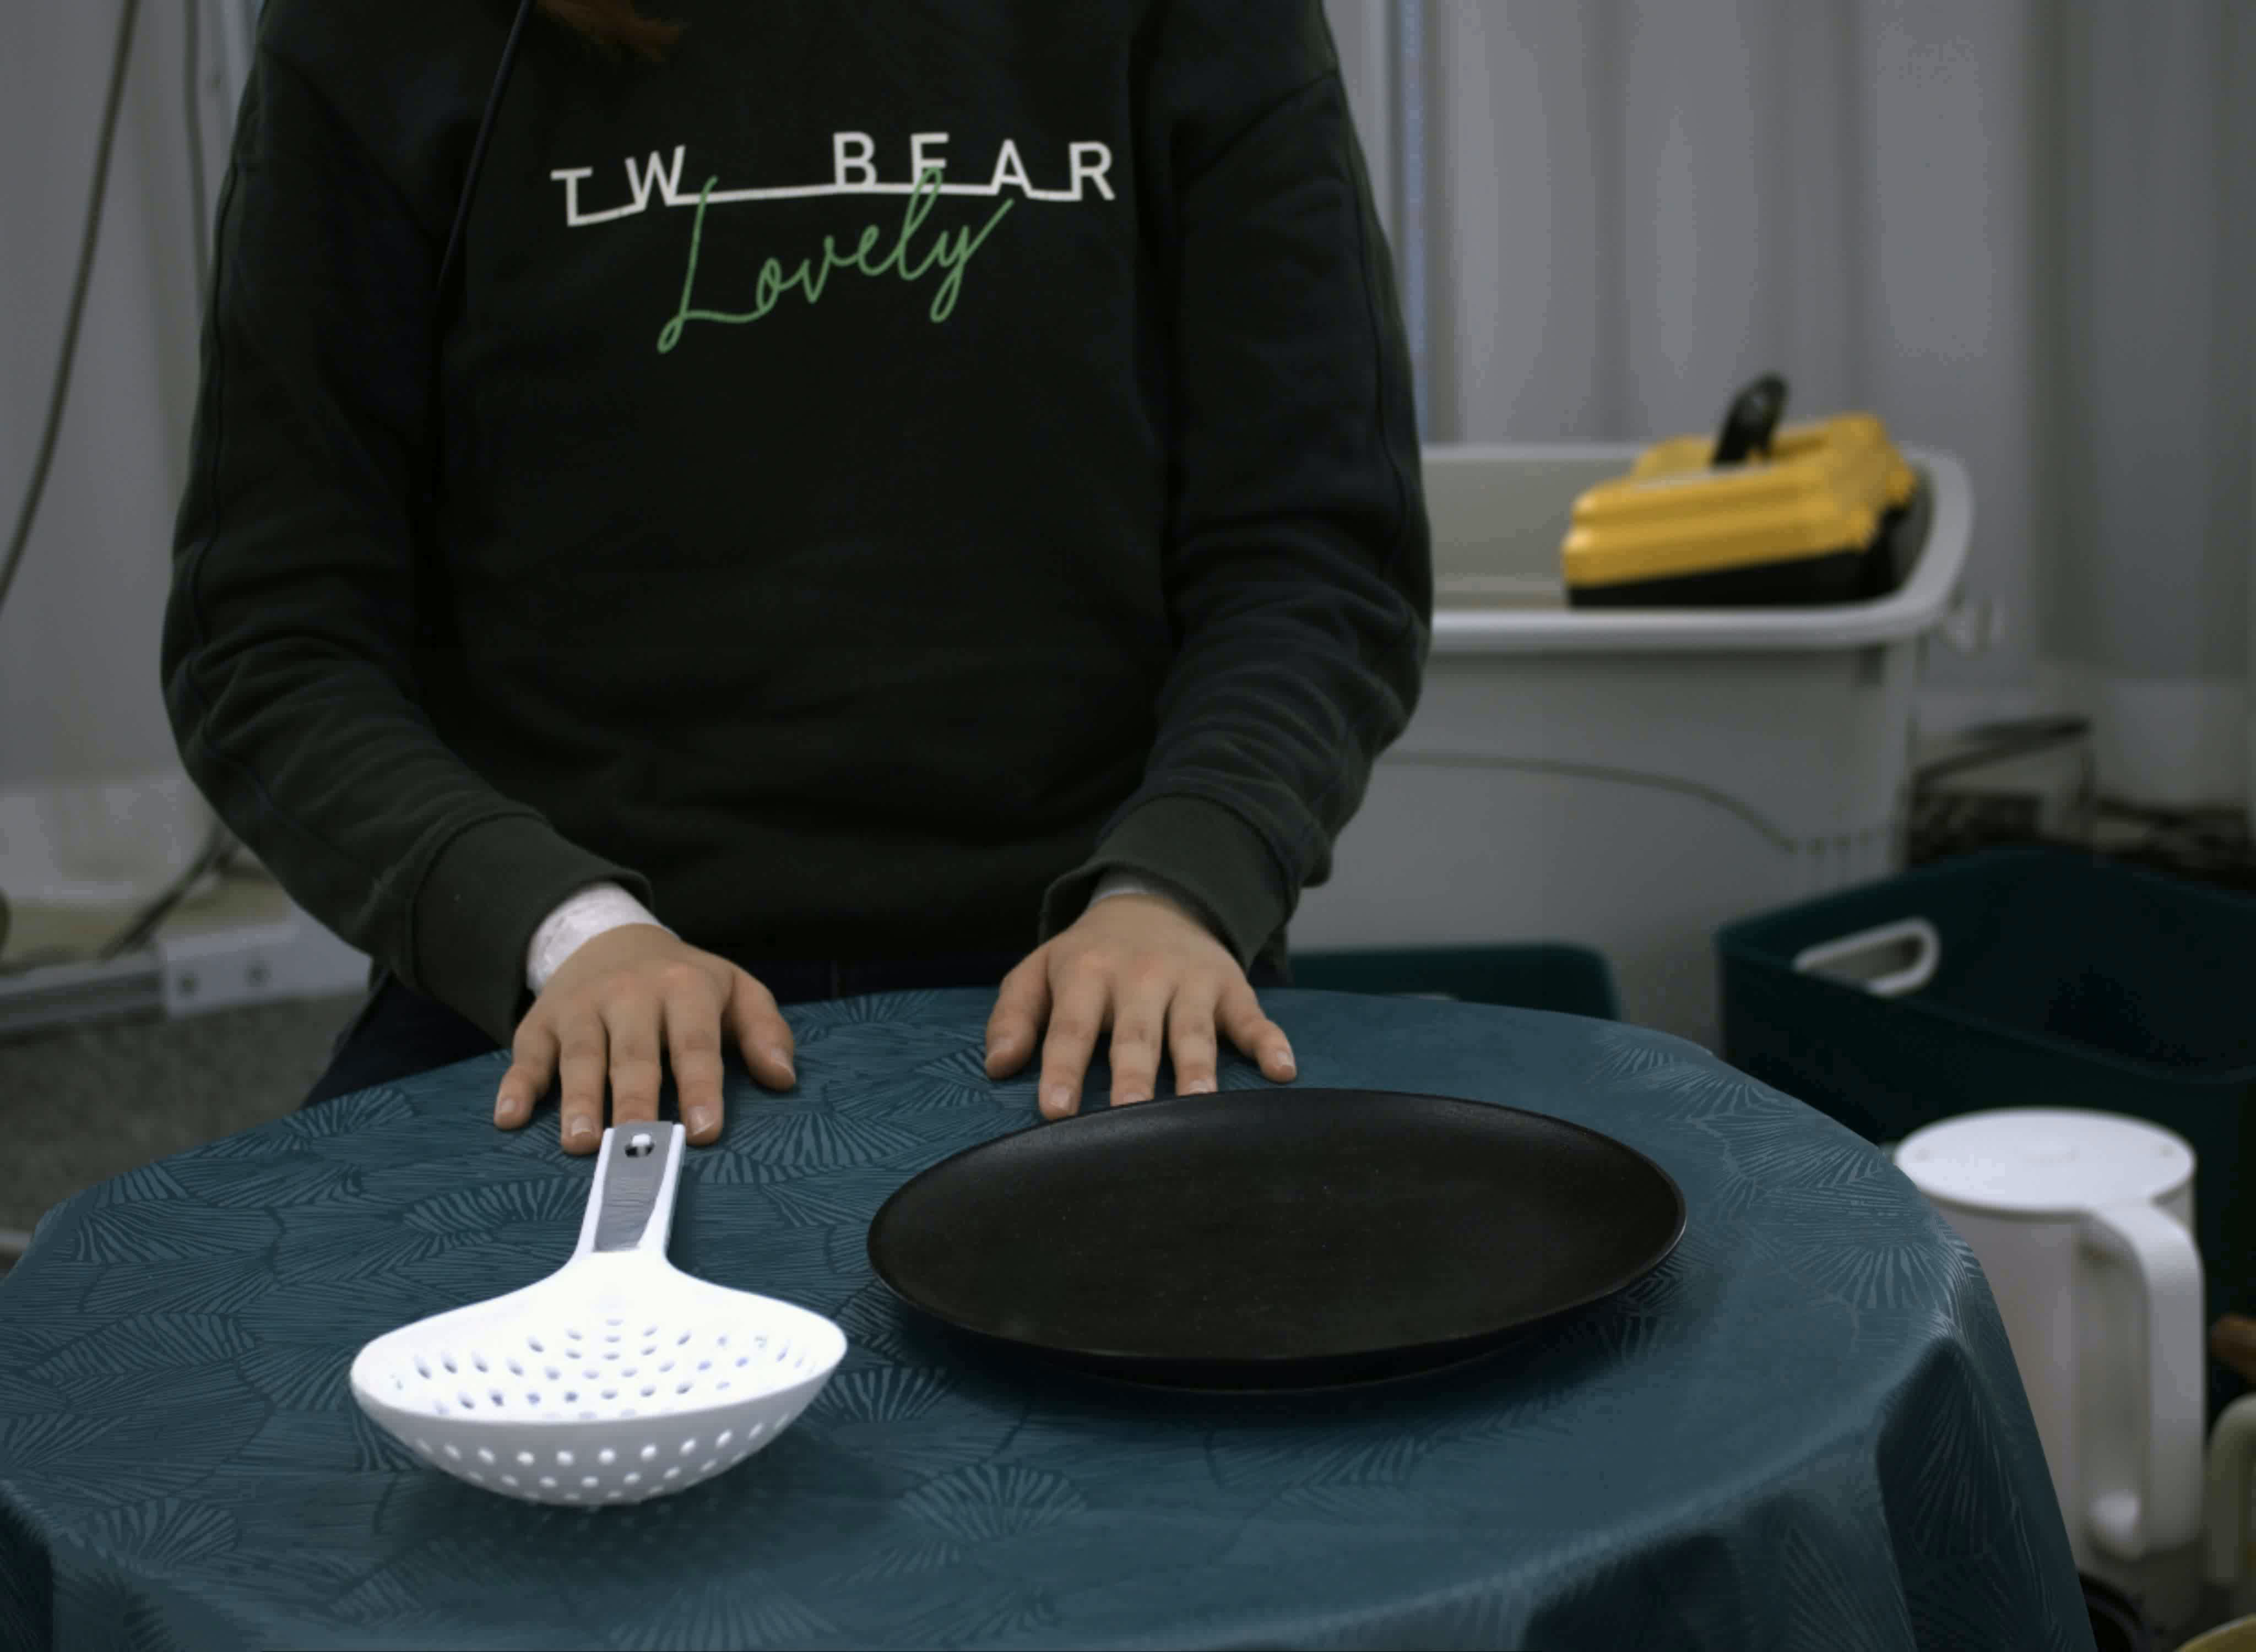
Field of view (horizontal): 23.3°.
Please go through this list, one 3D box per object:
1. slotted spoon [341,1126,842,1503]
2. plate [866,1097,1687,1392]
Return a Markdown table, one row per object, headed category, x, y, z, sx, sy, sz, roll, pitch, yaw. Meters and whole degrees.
| category | x | y | z | sx | sy | sz | roll | pitch | yaw |
| --- | --- | --- | --- | --- | --- | --- | --- | --- | --- |
| slotted spoon | -0.149 | 0.132 | 1.589 | 0.135 | 0.045 | 0.352 | -1 | 14 | -2 |
| plate | 0.044 | 0.126 | 1.620 | 0.243 | 0.023 | 0.246 | -3 | 15 | 0 |
